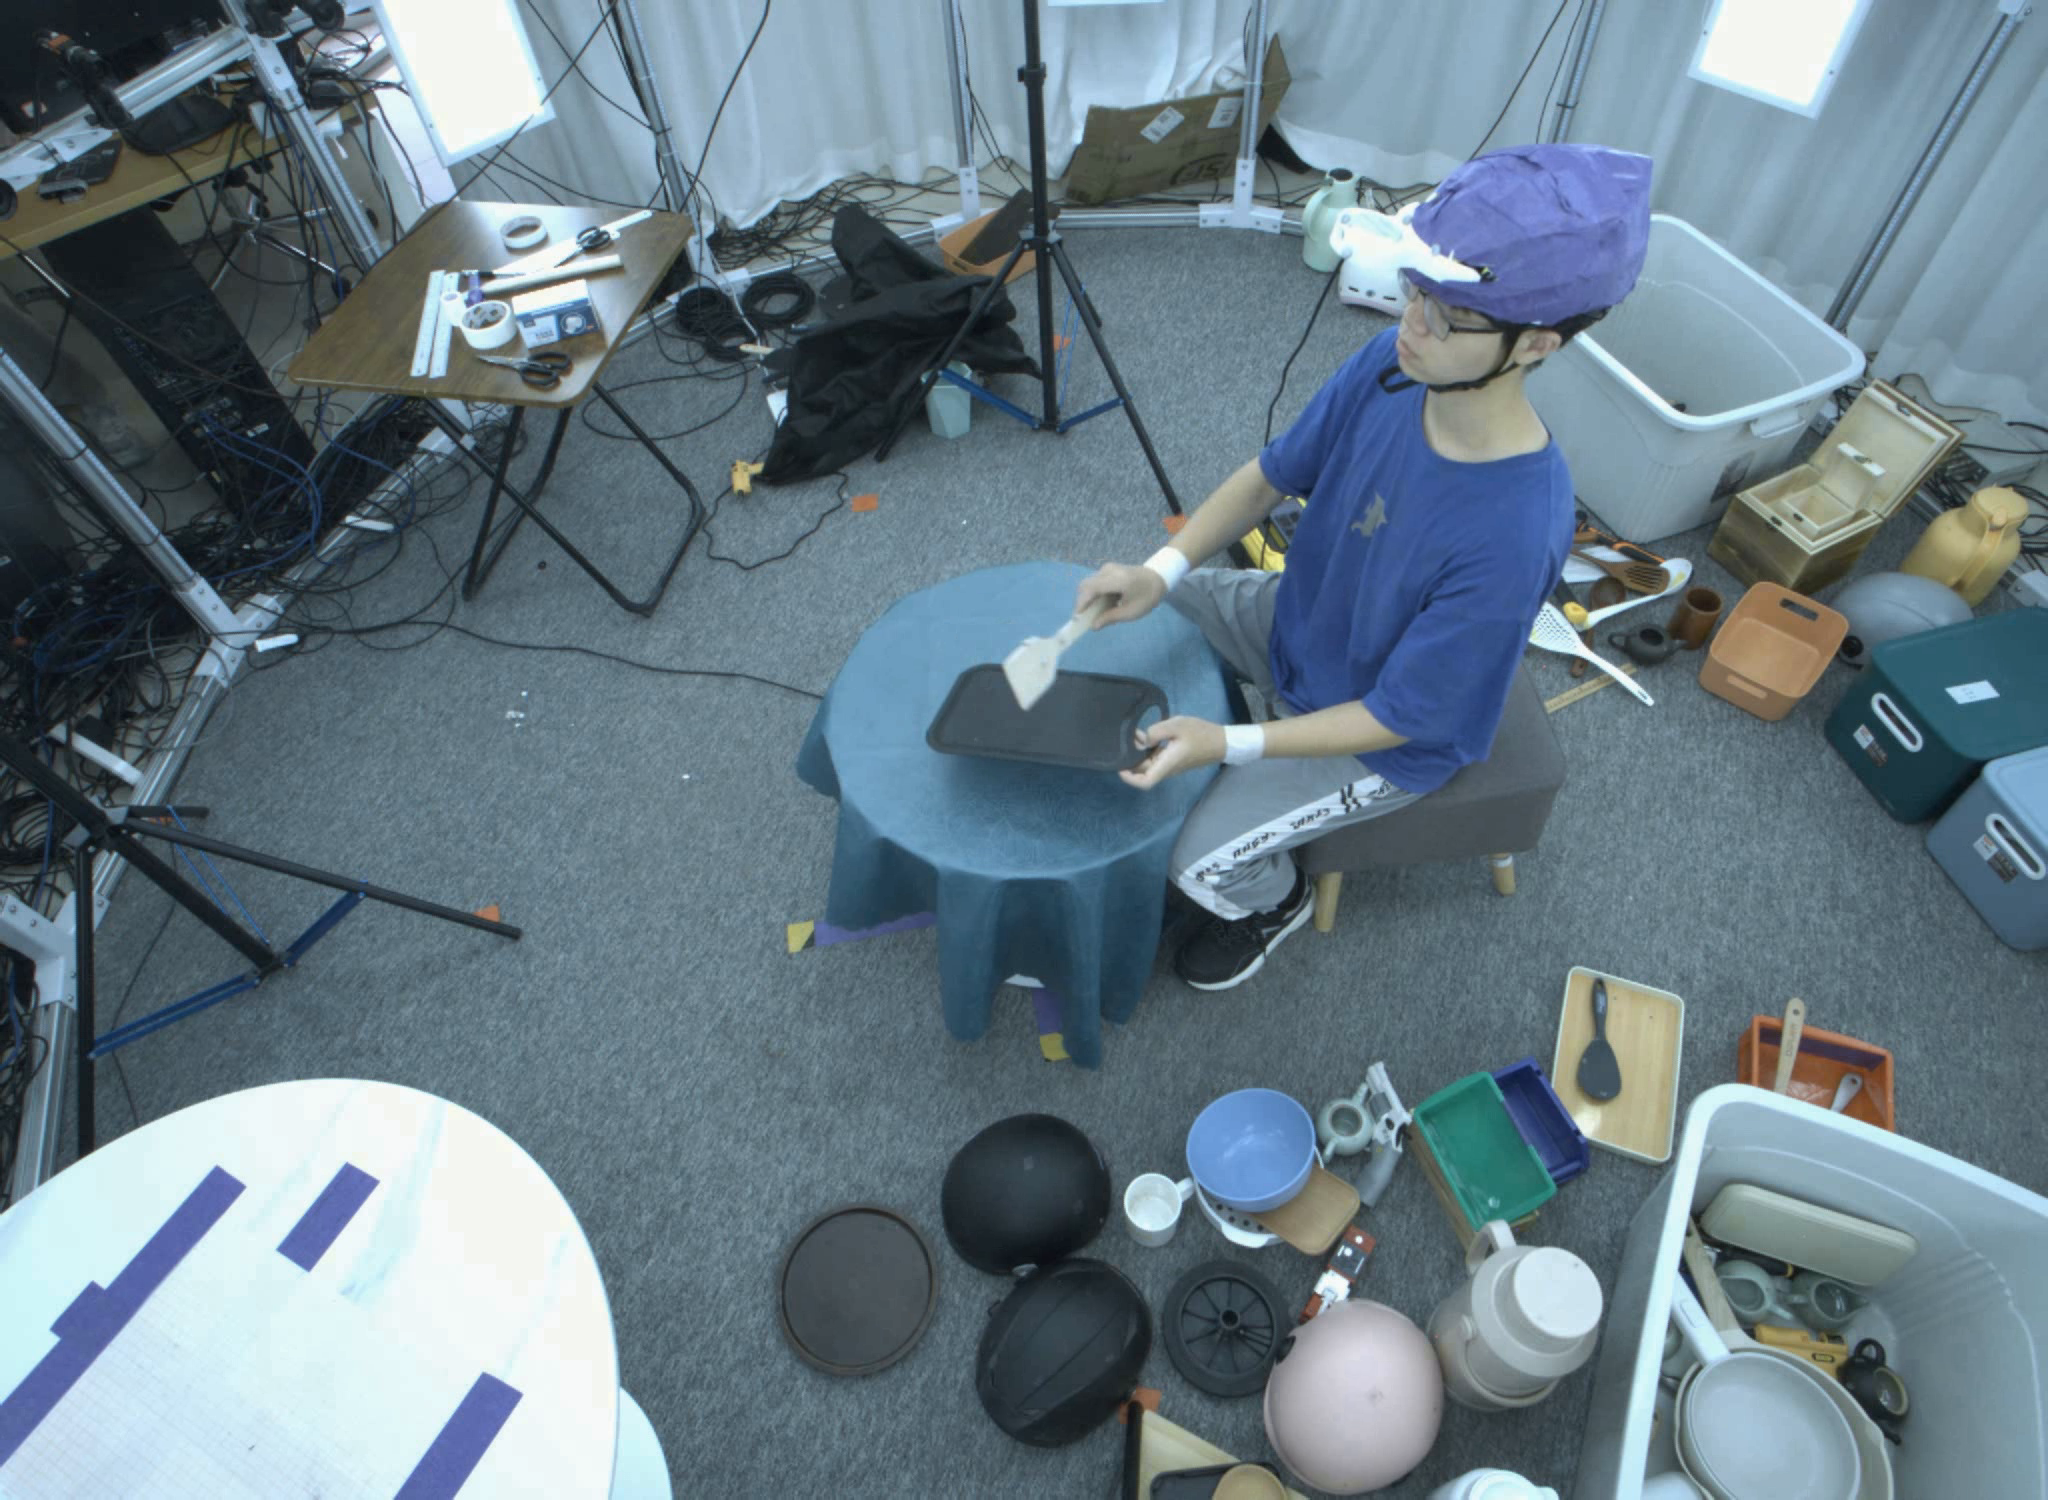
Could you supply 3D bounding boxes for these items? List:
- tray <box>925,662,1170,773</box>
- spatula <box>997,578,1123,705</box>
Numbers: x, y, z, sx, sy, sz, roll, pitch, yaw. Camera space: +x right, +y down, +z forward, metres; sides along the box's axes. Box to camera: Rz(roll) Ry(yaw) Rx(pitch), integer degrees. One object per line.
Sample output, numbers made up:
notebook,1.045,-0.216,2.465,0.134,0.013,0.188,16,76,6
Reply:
tray,0.038,-0.049,1.691,0.322,0.010,0.211,8,42,16
spatula,0.056,-0.165,1.705,0.010,0.073,0.295,-2,31,42
